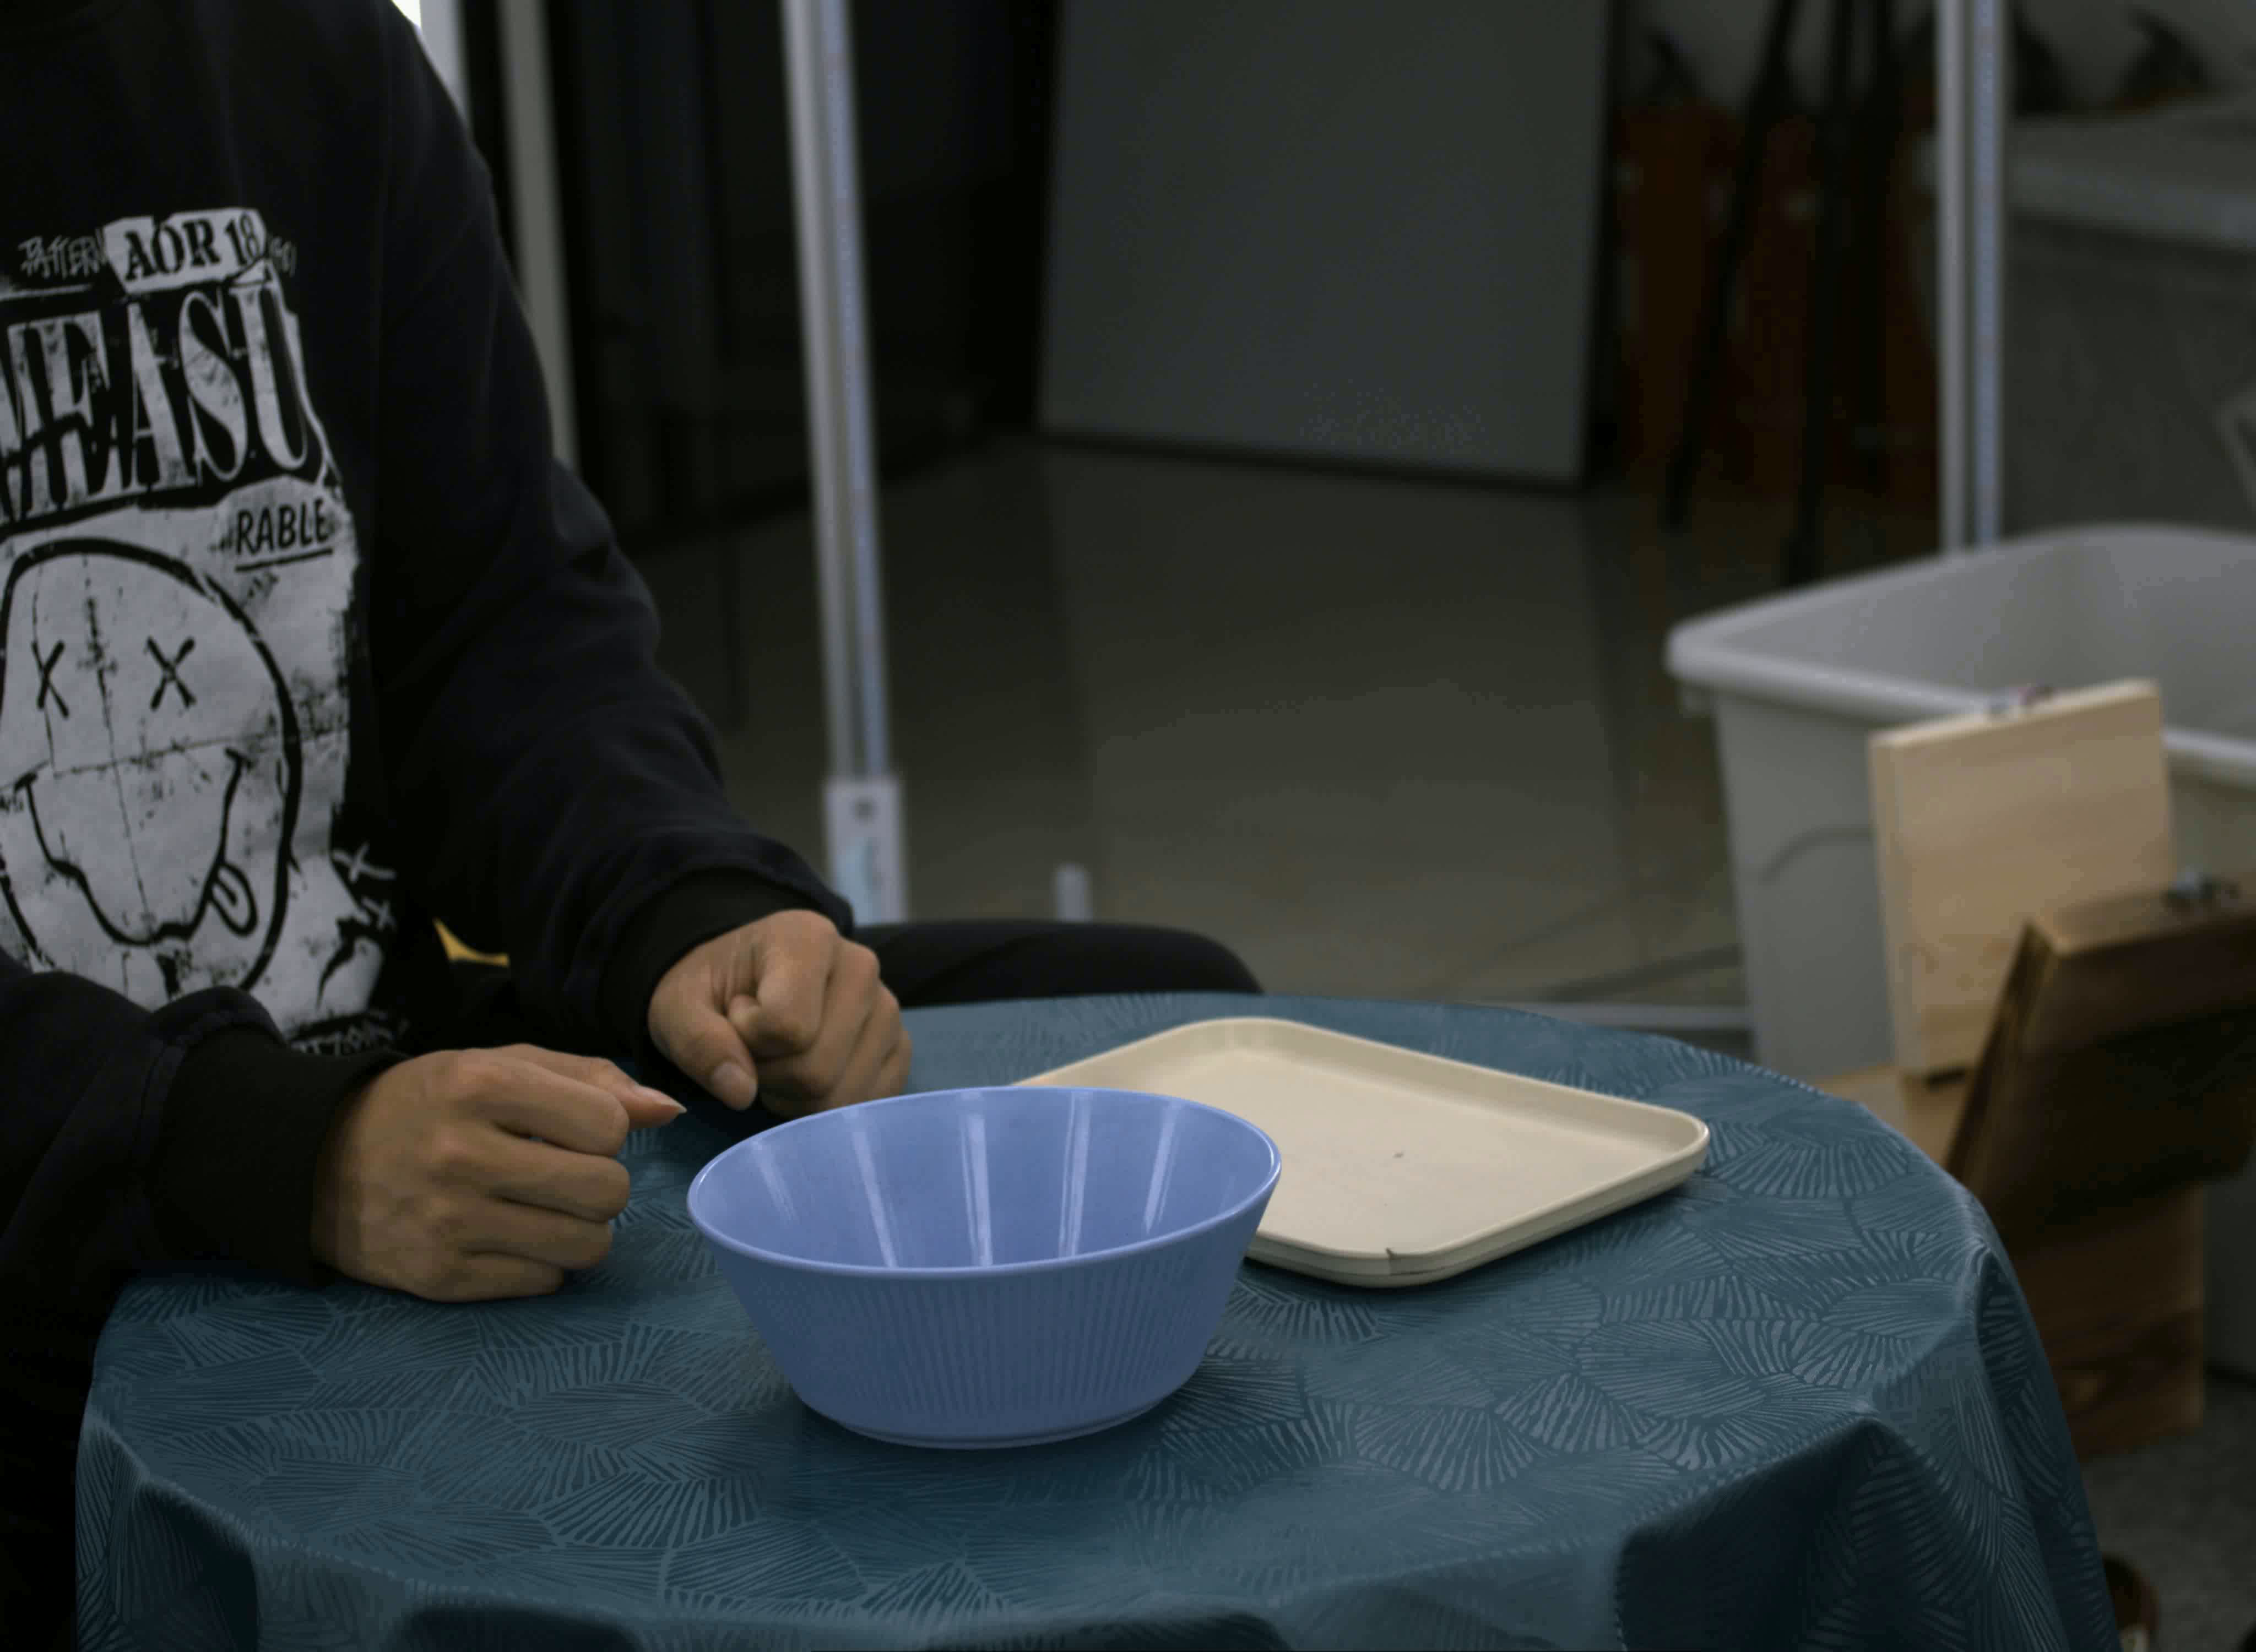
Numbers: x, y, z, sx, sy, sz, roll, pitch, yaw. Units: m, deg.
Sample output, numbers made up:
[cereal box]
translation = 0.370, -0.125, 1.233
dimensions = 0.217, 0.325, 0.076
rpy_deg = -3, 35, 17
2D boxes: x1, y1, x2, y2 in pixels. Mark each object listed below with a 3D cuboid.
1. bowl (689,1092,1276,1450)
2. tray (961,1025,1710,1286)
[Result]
[bowl]
translation = -0.041, 0.133, 1.587
dimensions = 0.174, 0.071, 0.176
rpy_deg = -4, 13, 0
[tray]
translation = 0.060, 0.107, 1.772
dimensions = 0.167, 0.017, 0.242
rpy_deg = -16, 18, -41
